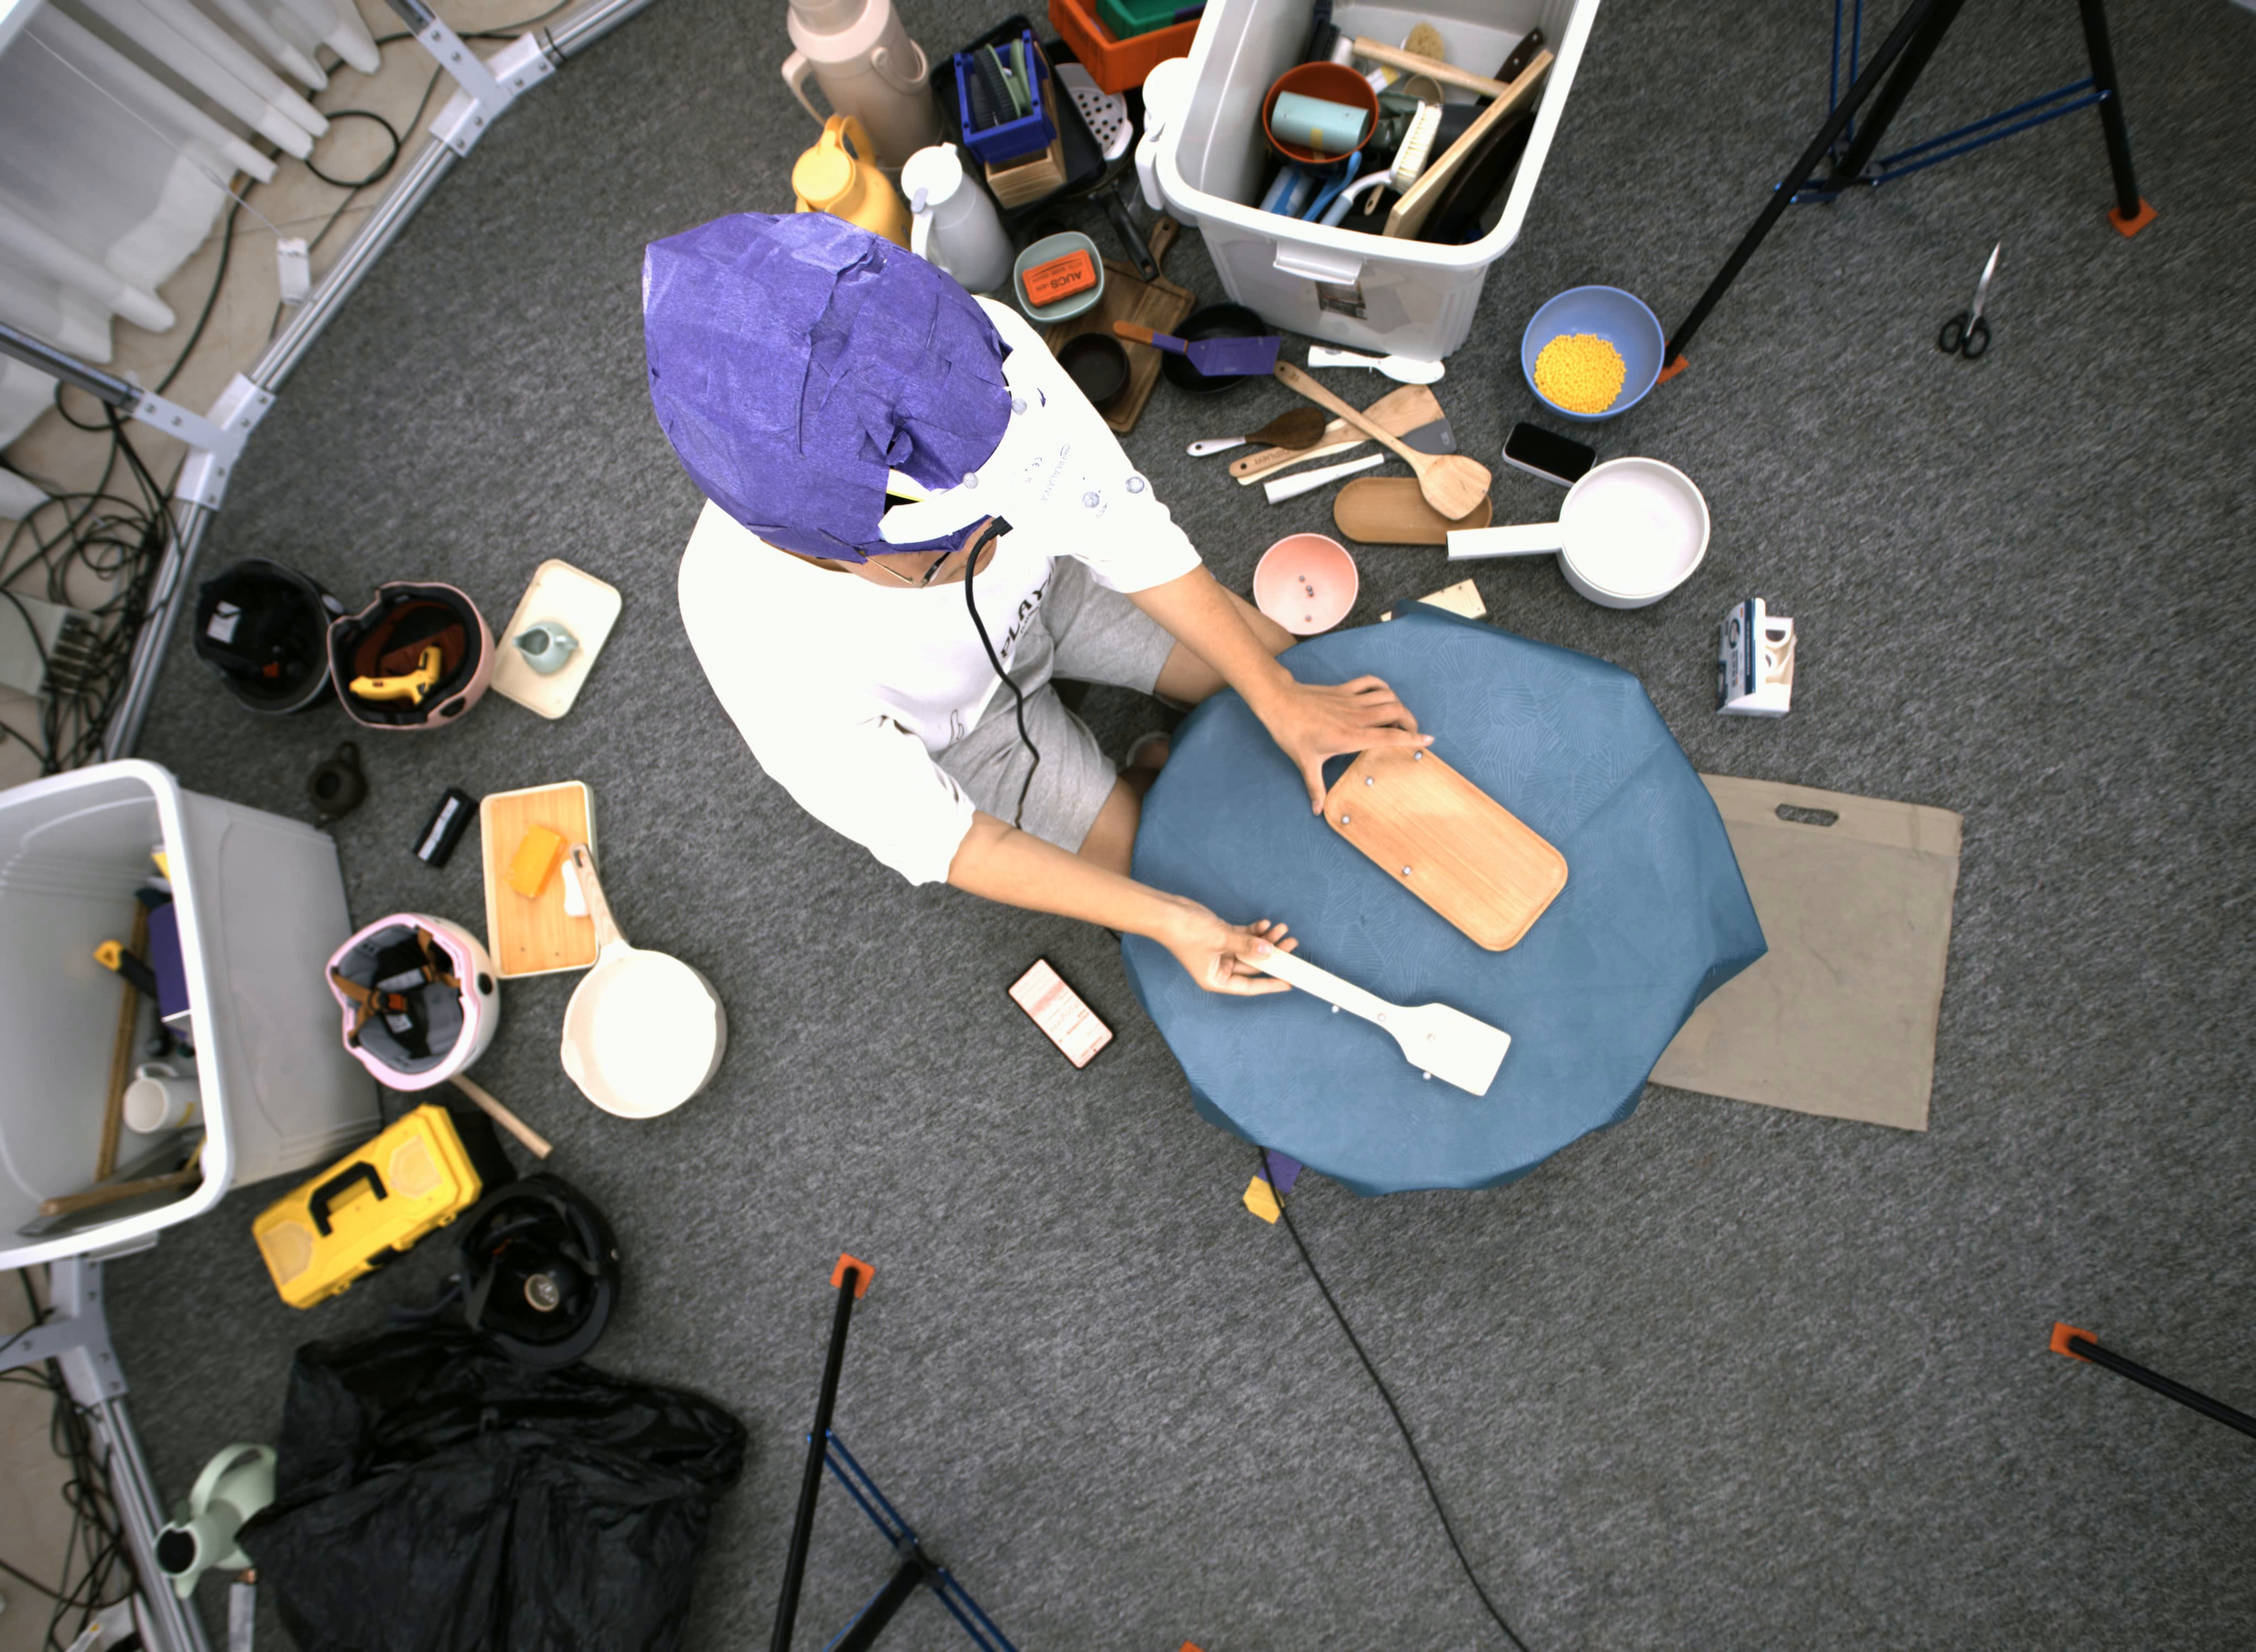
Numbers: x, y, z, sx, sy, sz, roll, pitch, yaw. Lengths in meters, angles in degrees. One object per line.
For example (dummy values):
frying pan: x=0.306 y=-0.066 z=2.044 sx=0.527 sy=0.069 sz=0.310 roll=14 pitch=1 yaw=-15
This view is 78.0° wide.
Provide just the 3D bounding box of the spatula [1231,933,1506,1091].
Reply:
spatula: x=0.240 y=0.181 z=1.423 sx=0.293 sy=0.010 sz=0.072 roll=24 pitch=96 yaw=7

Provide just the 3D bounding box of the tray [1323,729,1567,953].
tray: x=0.331 y=0.013 z=1.443 sx=0.250 sy=0.023 sz=0.131 roll=41 pitch=97 yaw=10
